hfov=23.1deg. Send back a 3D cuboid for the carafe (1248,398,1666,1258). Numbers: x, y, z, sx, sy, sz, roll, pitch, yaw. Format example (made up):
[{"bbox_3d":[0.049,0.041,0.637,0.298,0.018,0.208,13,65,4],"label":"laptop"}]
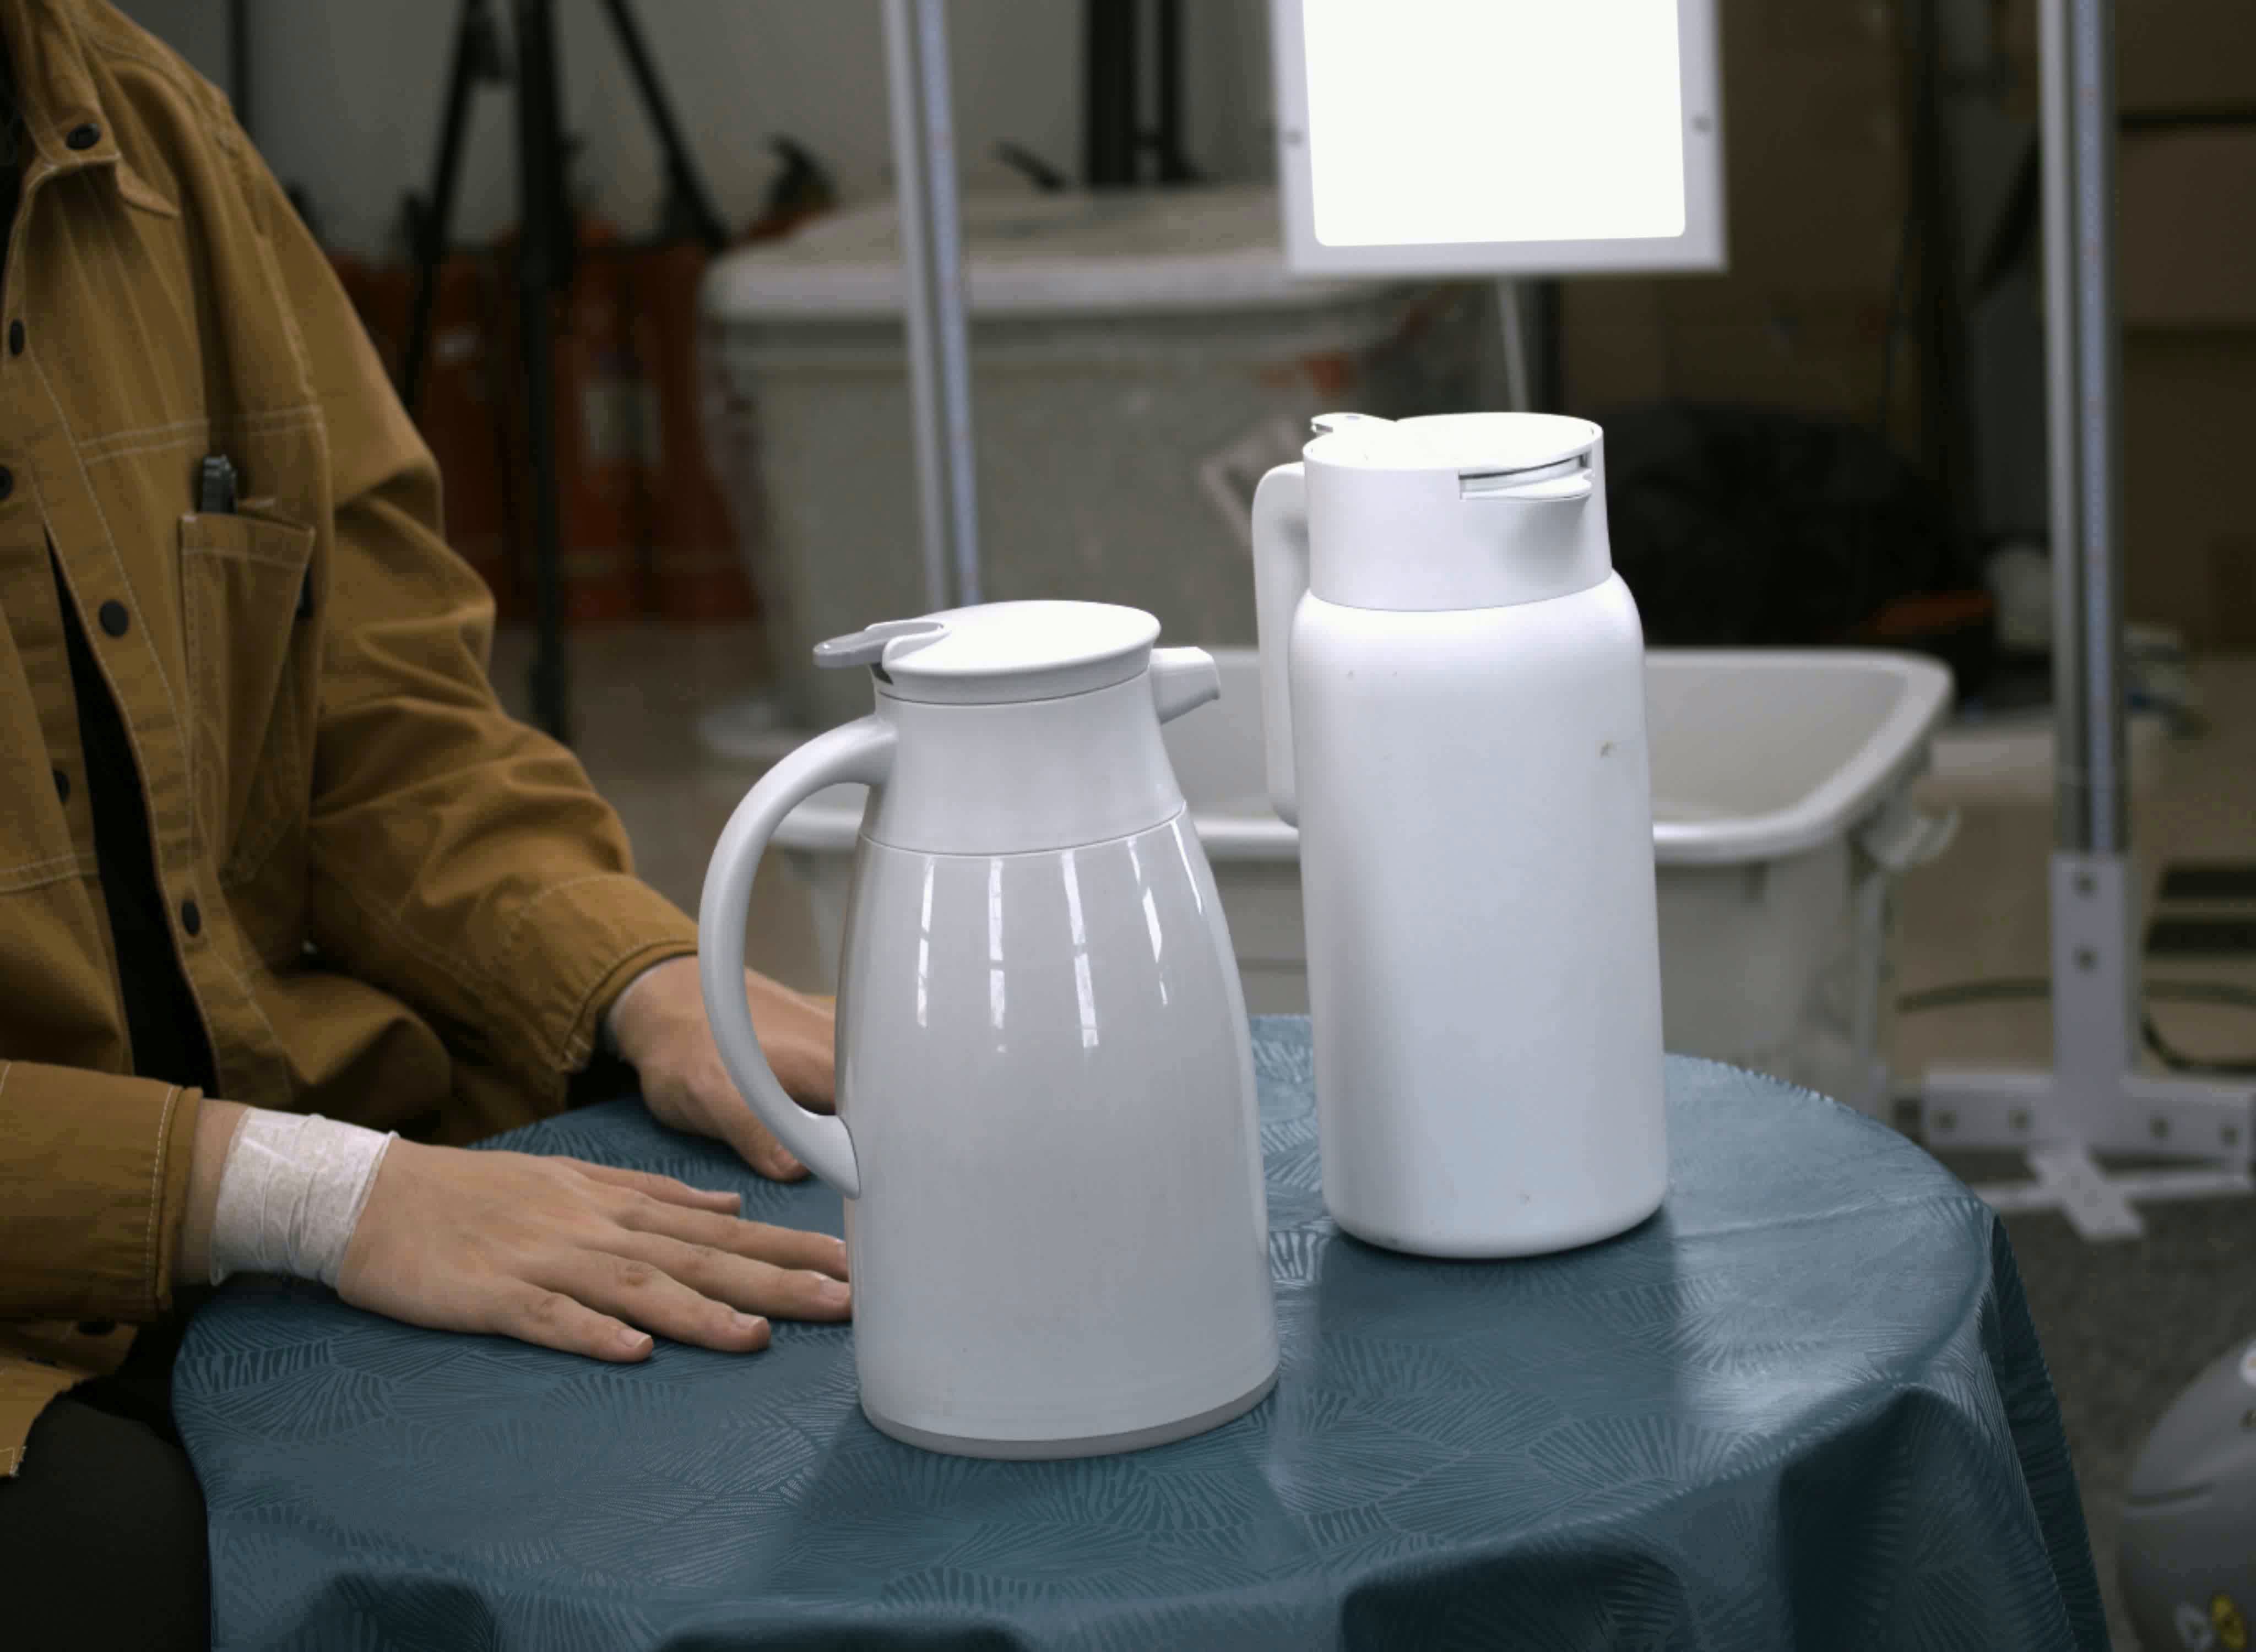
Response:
[{"bbox_3d":[0.103,-0.002,1.822,0.121,0.270,0.176,-15,17,-29],"label":"carafe"}]

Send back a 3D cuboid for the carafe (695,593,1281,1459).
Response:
[{"bbox_3d":[-0.046,0.057,1.676,0.165,0.249,0.134,-9,14,-13],"label":"carafe"}]
